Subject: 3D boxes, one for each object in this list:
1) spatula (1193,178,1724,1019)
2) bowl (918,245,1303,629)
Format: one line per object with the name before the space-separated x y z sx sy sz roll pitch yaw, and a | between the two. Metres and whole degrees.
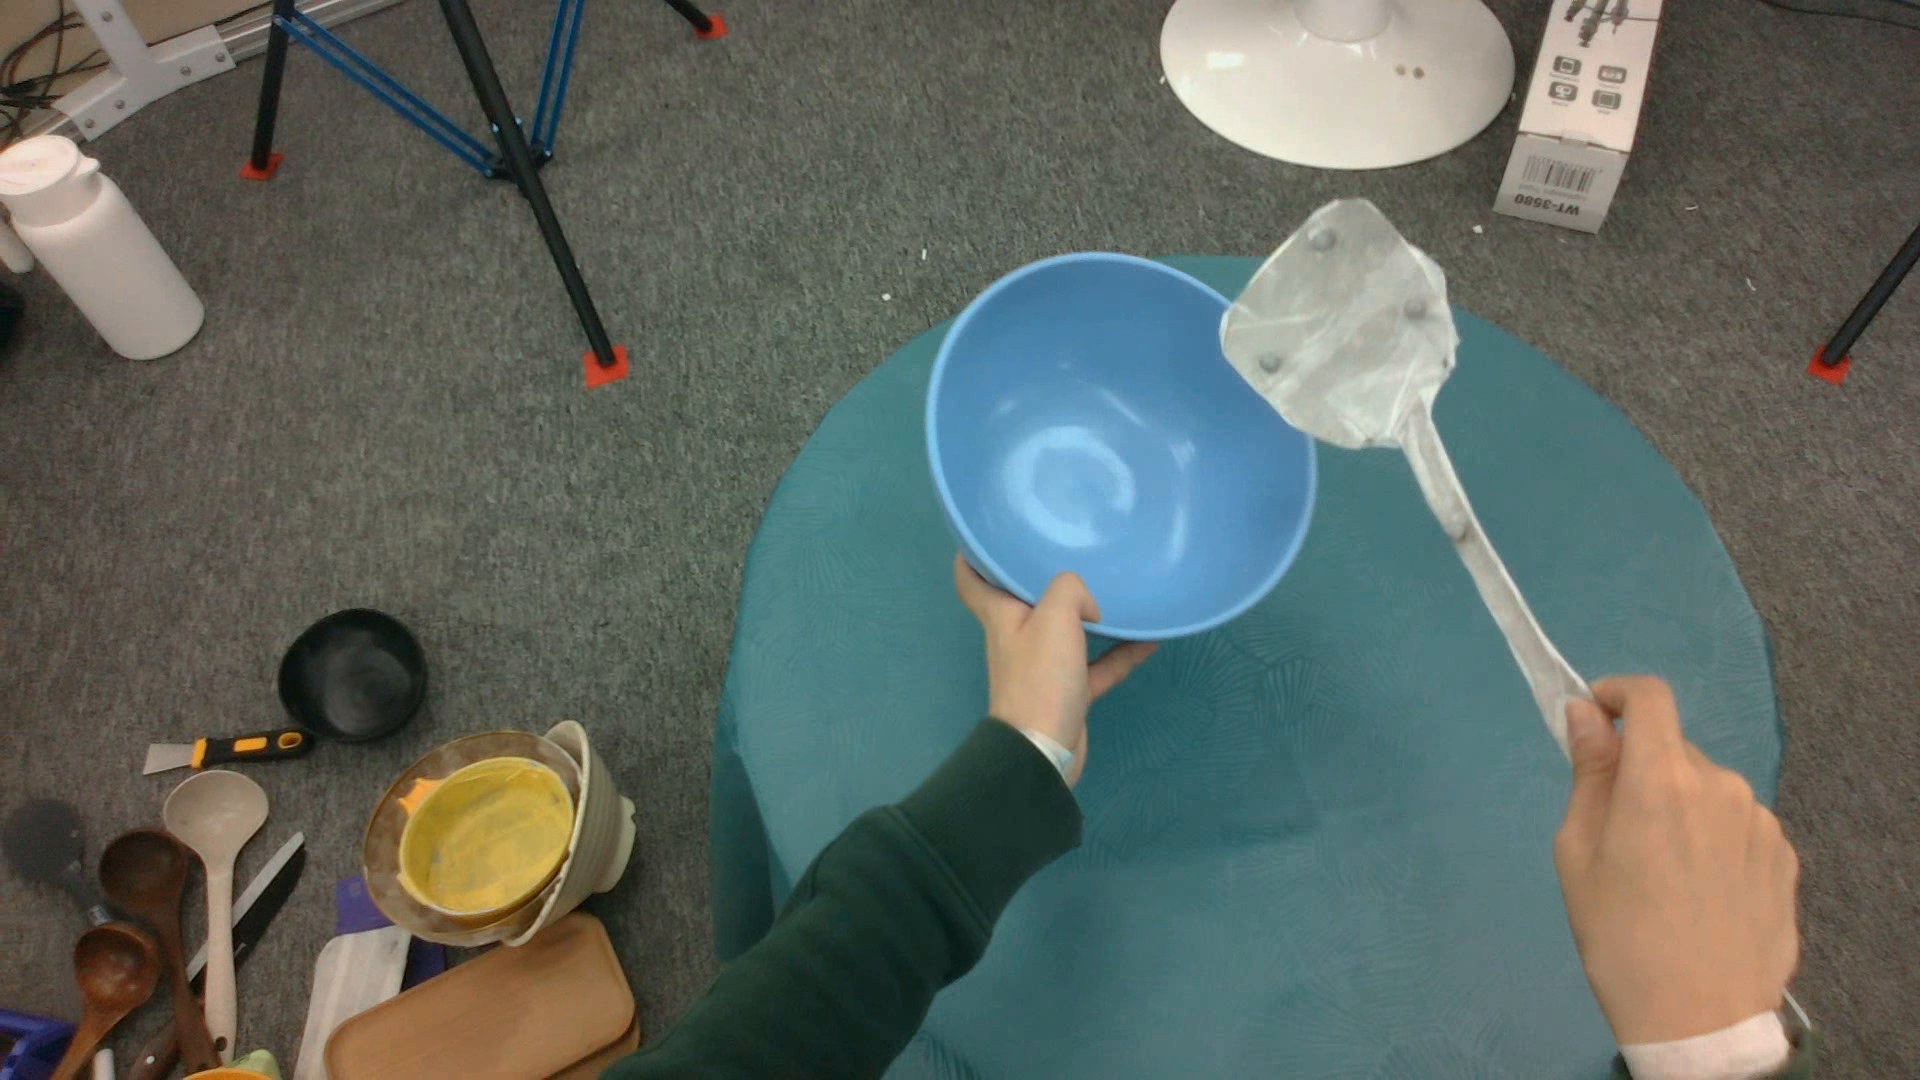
spatula | 0.196 0.008 0.548 0.045 0.098 0.366 10 49 -38
bowl | 0.064 -0.040 0.702 0.197 0.095 0.197 5 71 -14
